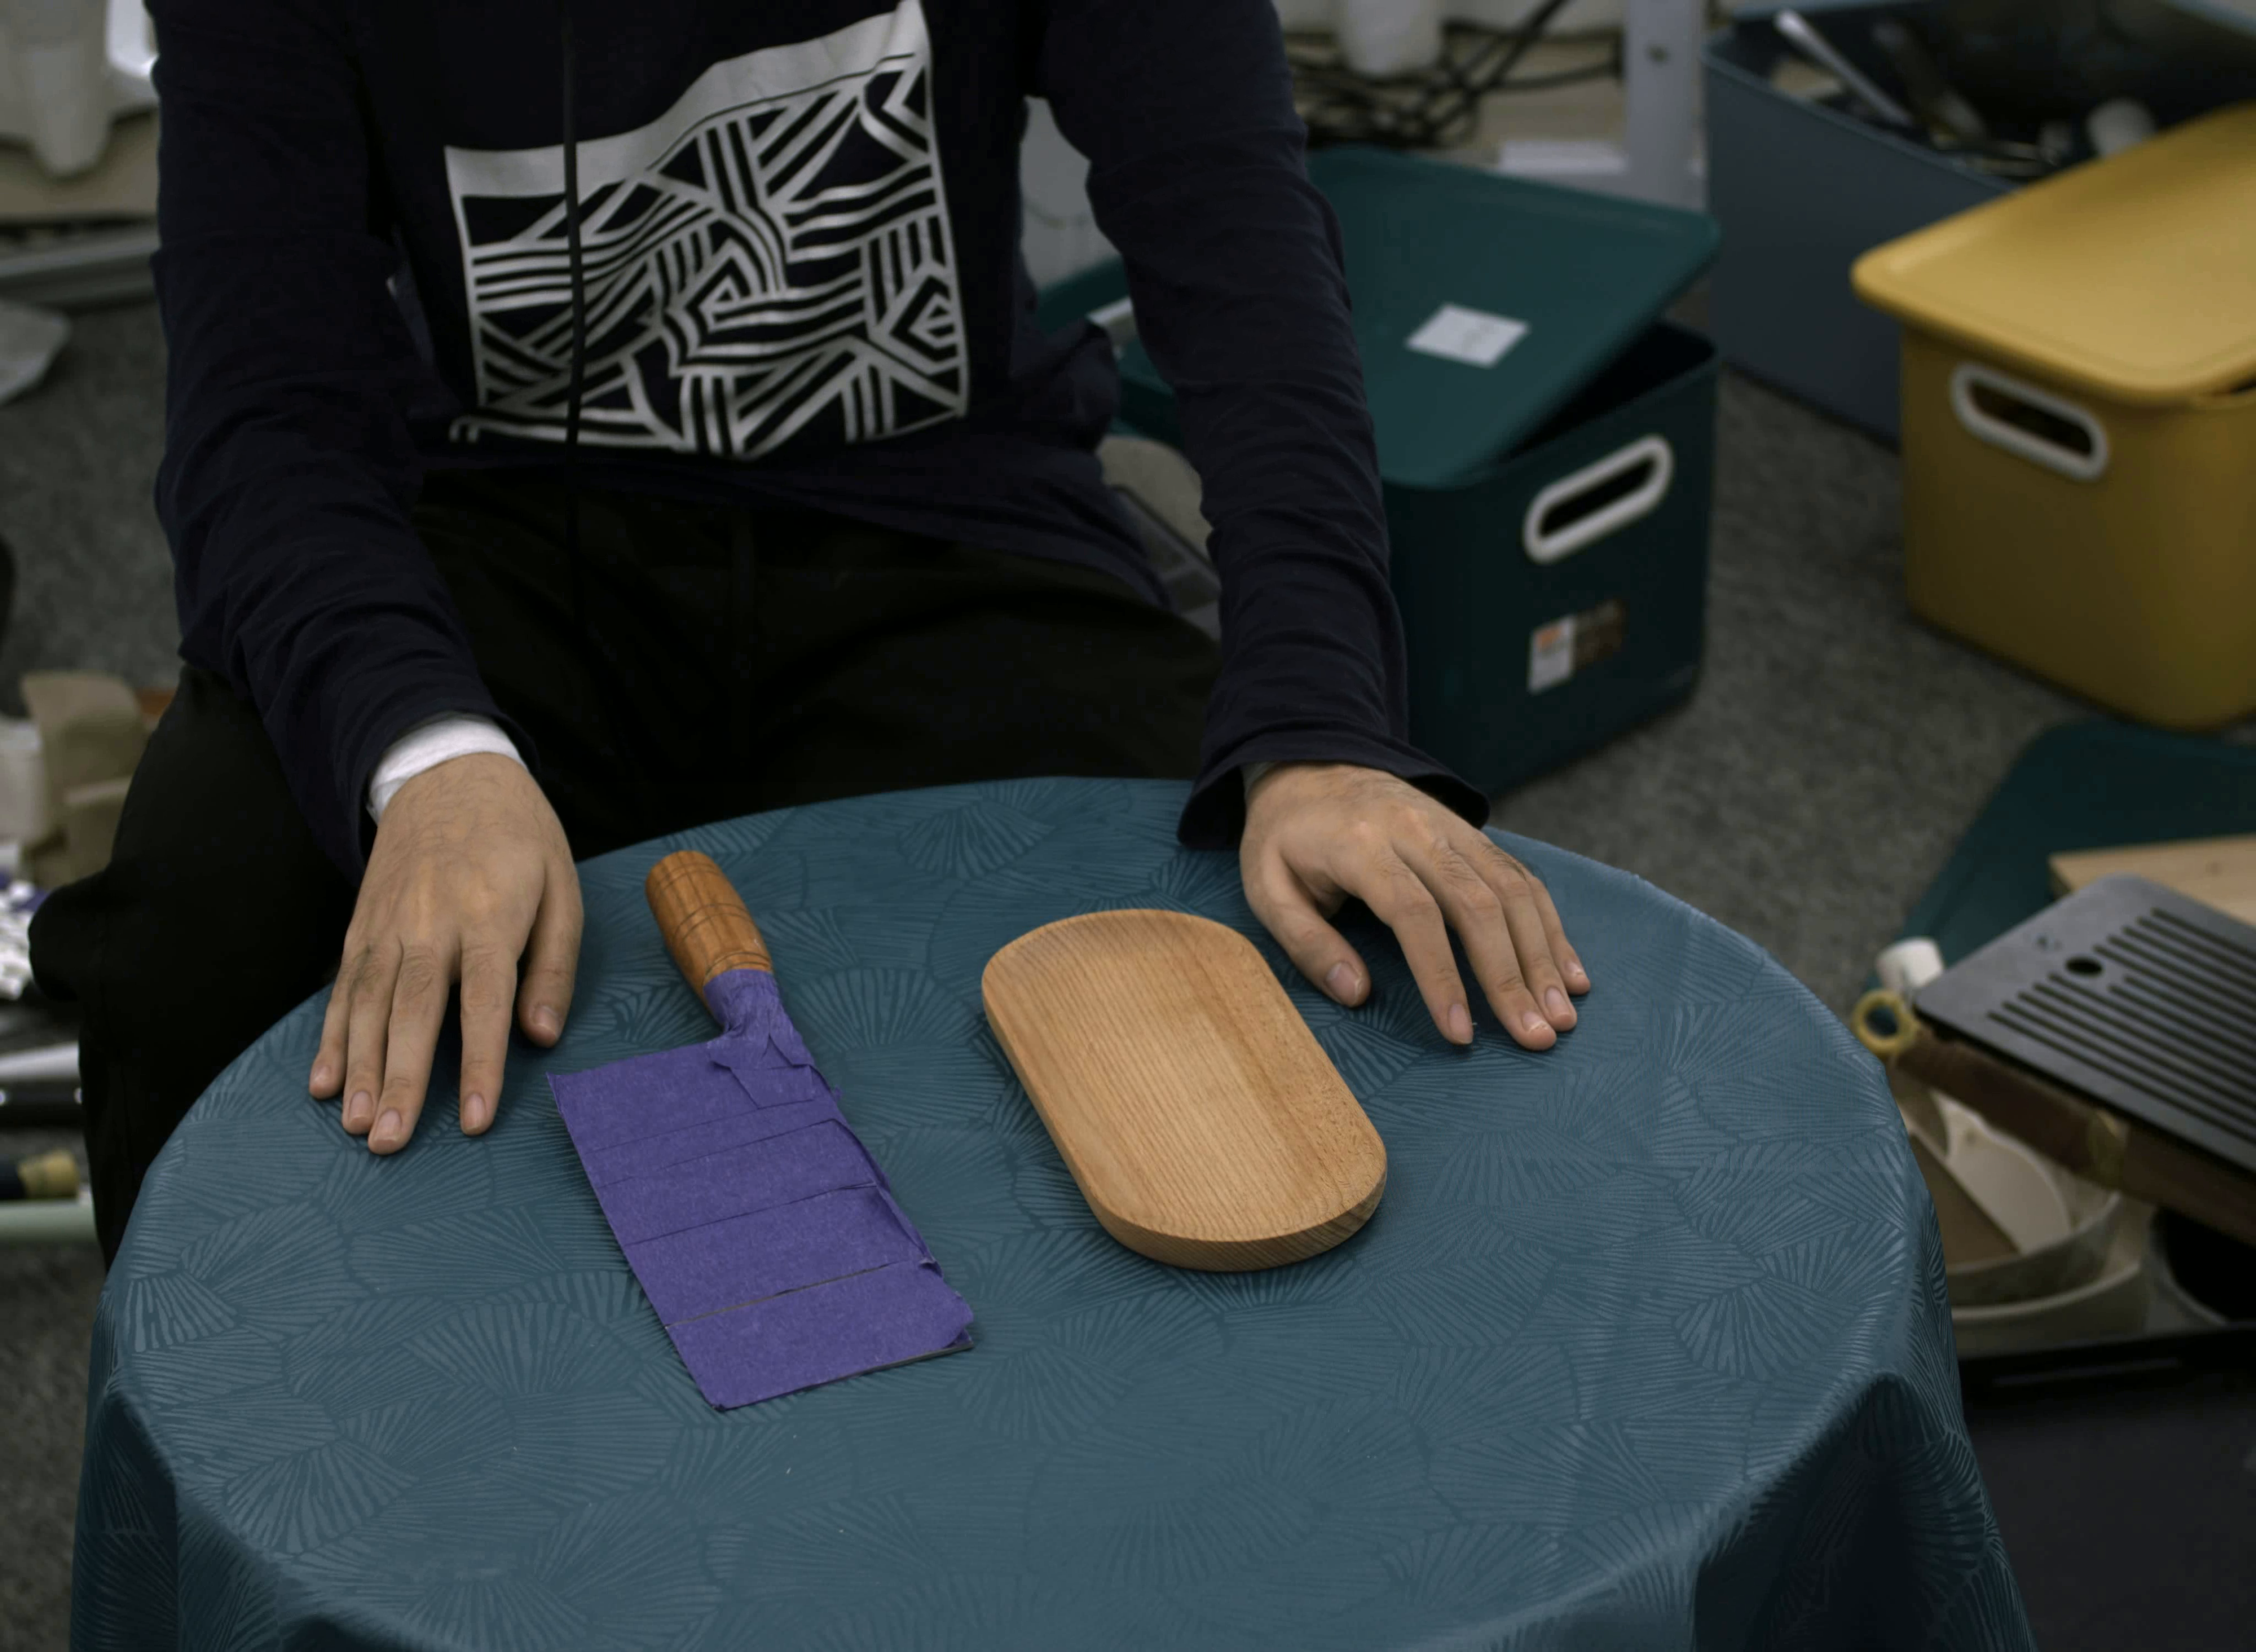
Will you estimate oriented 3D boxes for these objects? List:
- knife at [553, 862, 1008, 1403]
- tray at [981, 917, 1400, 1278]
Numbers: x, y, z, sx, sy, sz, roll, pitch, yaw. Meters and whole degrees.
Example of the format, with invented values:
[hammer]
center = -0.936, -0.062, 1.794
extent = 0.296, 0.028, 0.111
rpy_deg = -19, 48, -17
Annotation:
[knife]
center = -0.139, 0.098, 1.891
extent = 0.104, 0.032, 0.318
rpy_deg = -11, 29, -17
[tray]
center = 0.019, 0.090, 1.904
extent = 0.102, 0.020, 0.233
rpy_deg = -11, 30, -14
